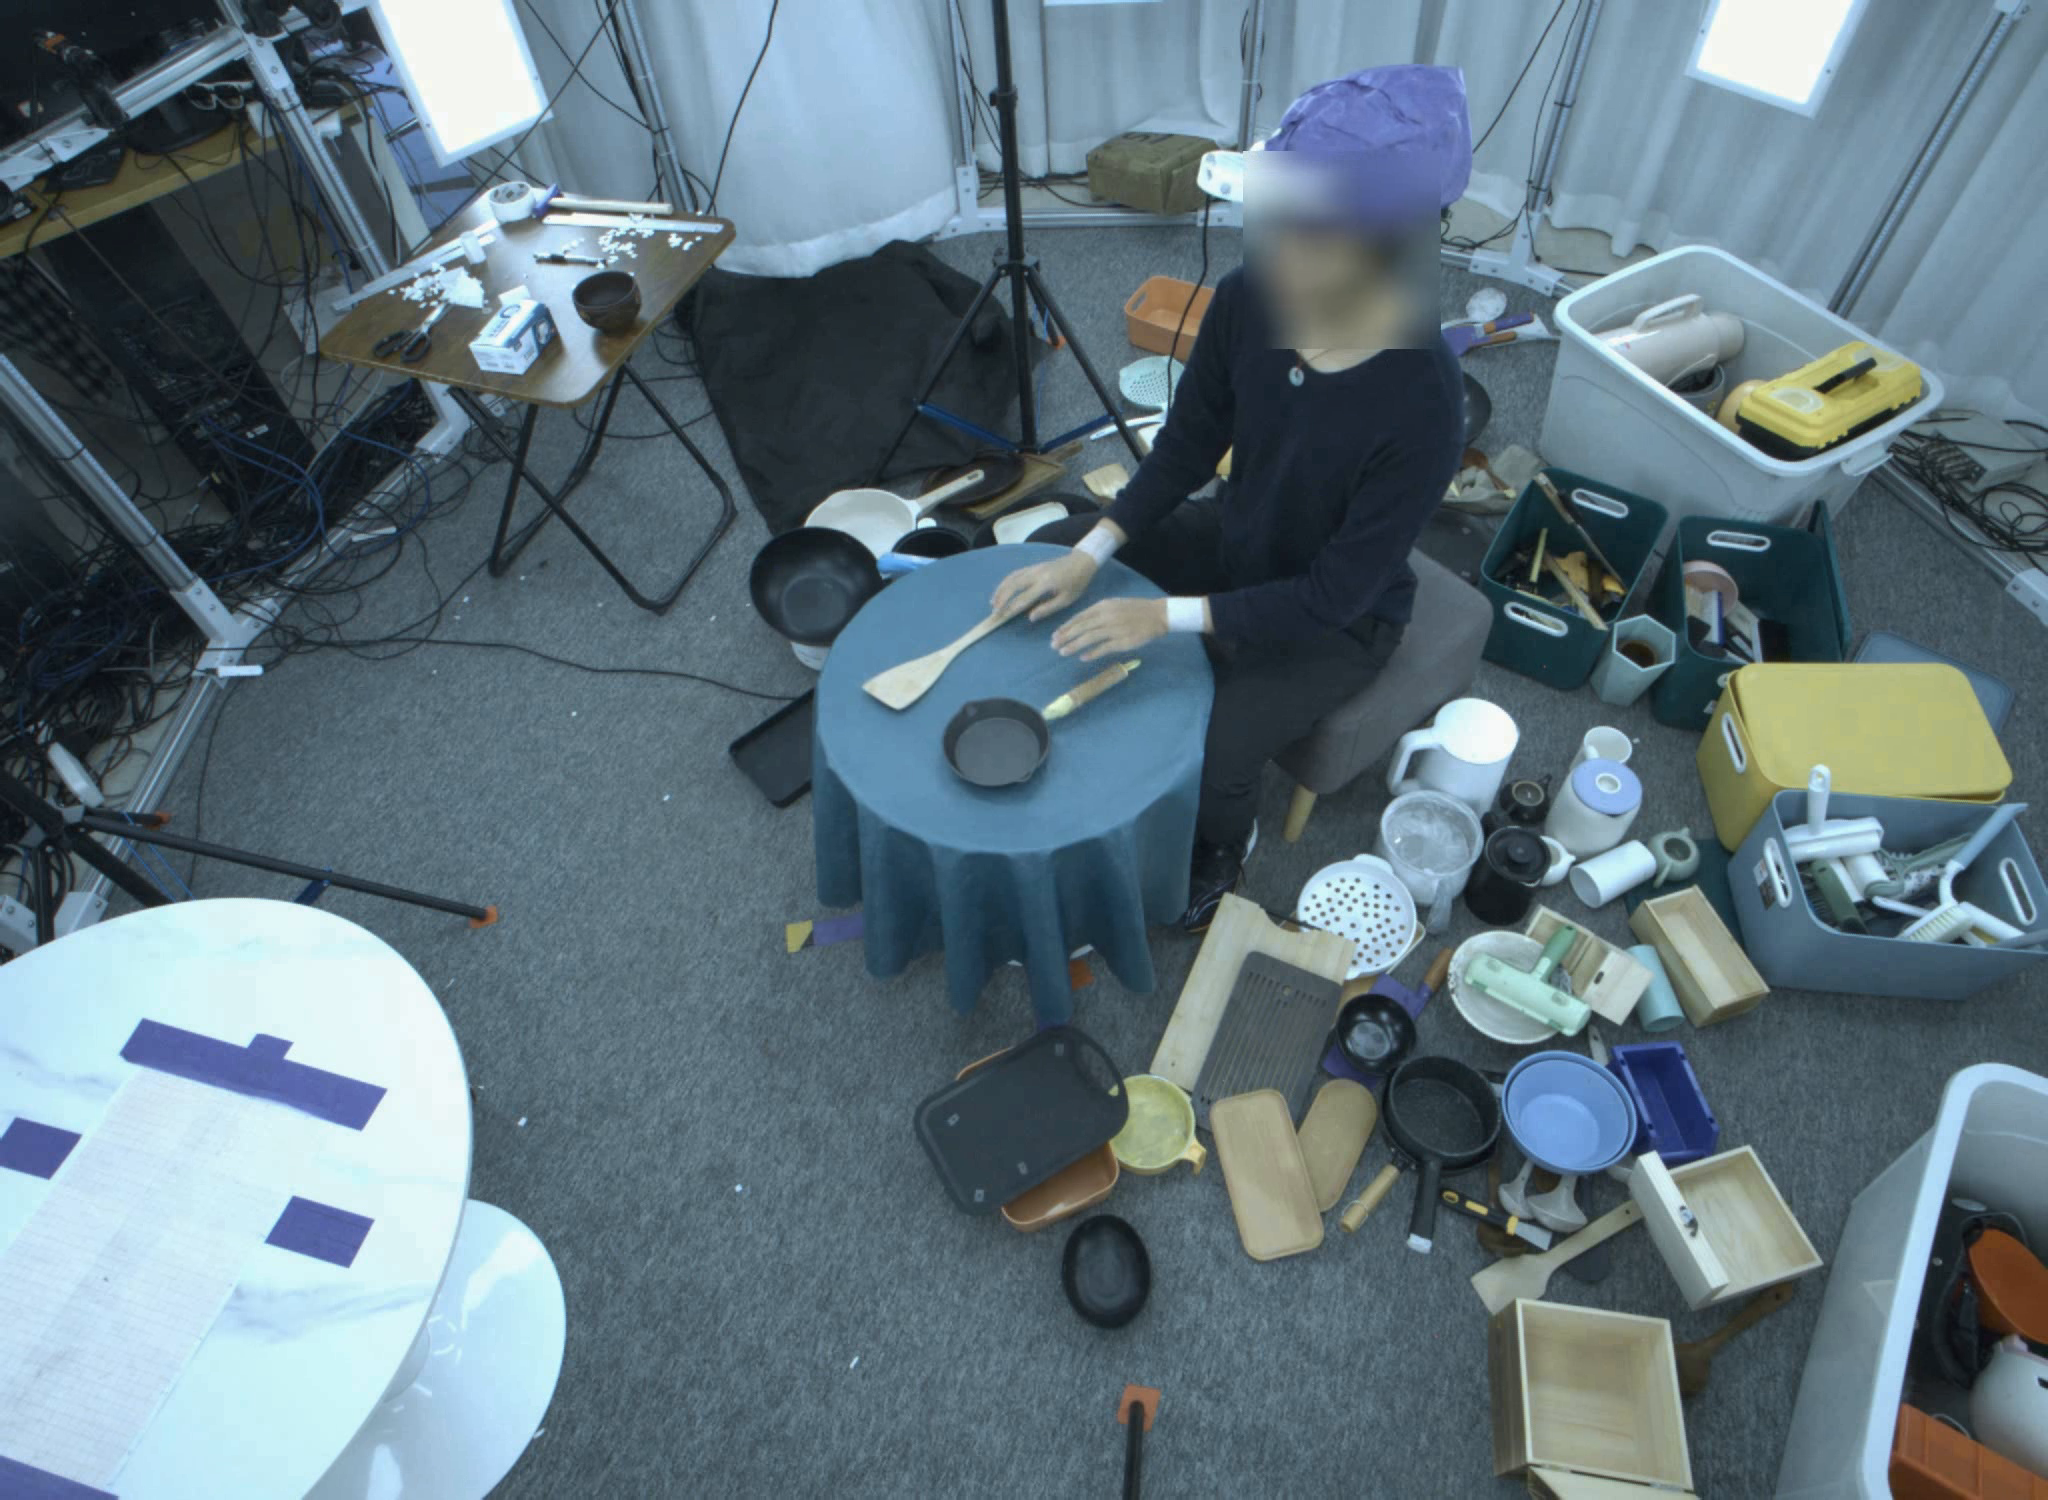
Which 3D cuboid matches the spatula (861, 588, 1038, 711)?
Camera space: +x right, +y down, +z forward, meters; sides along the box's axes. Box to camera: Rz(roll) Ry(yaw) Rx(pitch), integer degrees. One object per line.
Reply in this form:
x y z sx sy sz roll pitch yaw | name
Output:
-0.102 -0.163 1.896 0.330 0.017 0.078 -38 63 -22 | spatula

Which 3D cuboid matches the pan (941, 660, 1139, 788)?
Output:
0.032 -0.048 1.789 0.326 0.050 0.166 -28 58 -15 | pan
